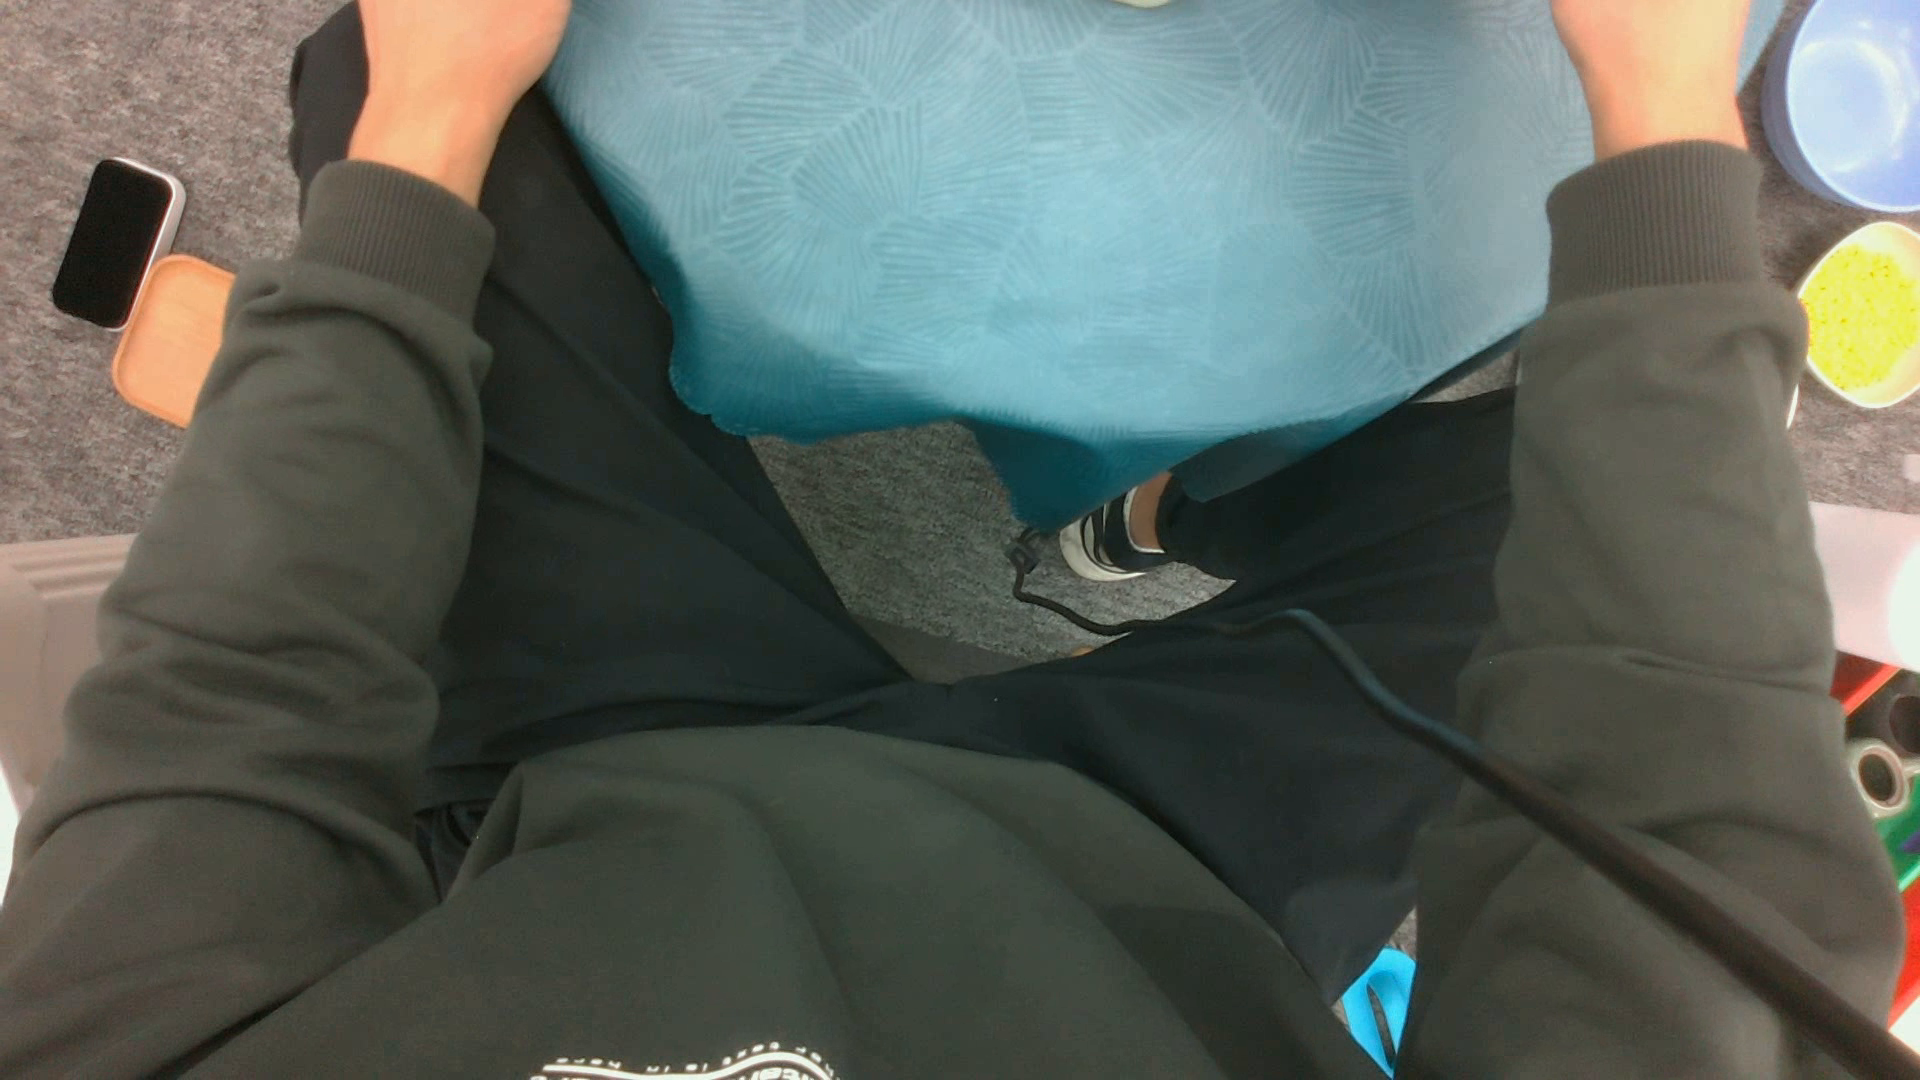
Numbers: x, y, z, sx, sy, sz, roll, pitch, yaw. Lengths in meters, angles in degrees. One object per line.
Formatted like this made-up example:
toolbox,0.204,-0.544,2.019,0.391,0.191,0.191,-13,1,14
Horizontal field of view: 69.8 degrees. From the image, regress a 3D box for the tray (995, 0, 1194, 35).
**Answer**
tray,-0.031,-0.336,0.570,0.300,0.027,0.191,12,95,-5
